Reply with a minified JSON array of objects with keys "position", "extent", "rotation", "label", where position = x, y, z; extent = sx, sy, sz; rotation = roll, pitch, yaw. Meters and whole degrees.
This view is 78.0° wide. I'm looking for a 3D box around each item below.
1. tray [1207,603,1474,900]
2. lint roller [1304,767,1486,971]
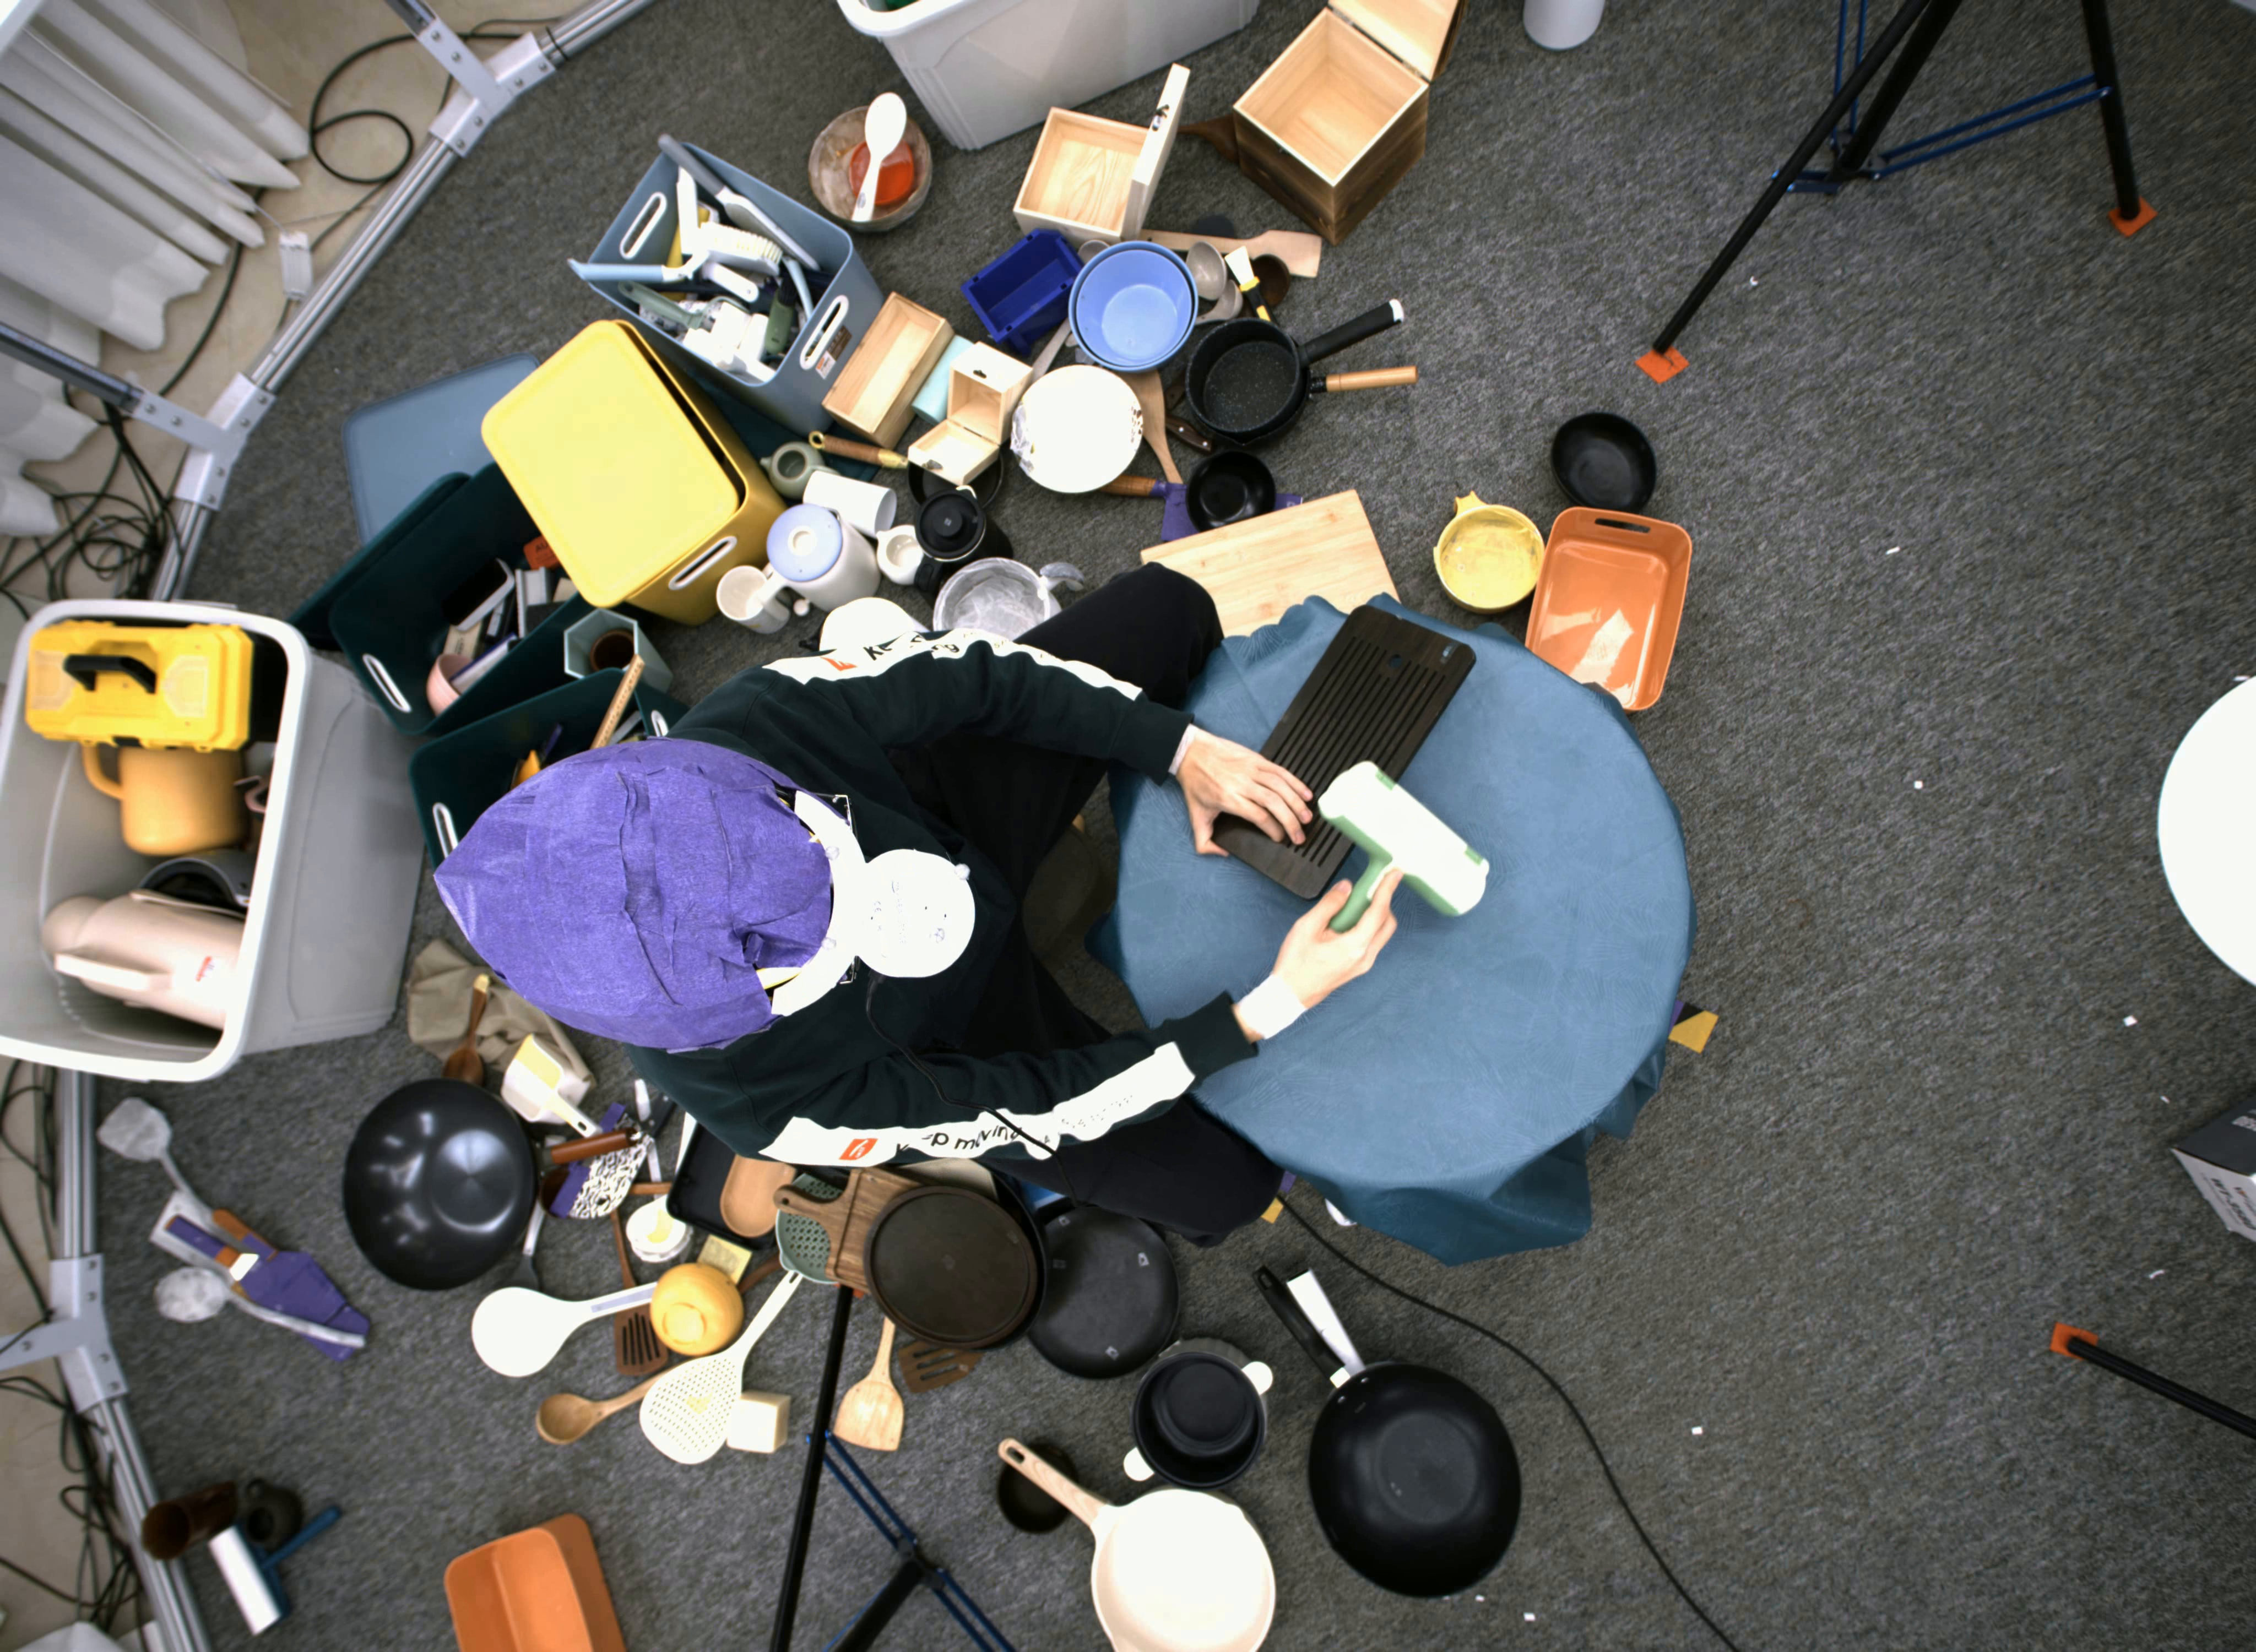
[{"position":[0.217,-0.082,1.425],"extent":[0.168,0.019,0.306],"rotation":[36,94,43],"label":"tray"},{"position":[0.240,0.068,1.327],"extent":[0.200,0.082,0.182],"rotation":[37,85,-26],"label":"lint roller"}]
